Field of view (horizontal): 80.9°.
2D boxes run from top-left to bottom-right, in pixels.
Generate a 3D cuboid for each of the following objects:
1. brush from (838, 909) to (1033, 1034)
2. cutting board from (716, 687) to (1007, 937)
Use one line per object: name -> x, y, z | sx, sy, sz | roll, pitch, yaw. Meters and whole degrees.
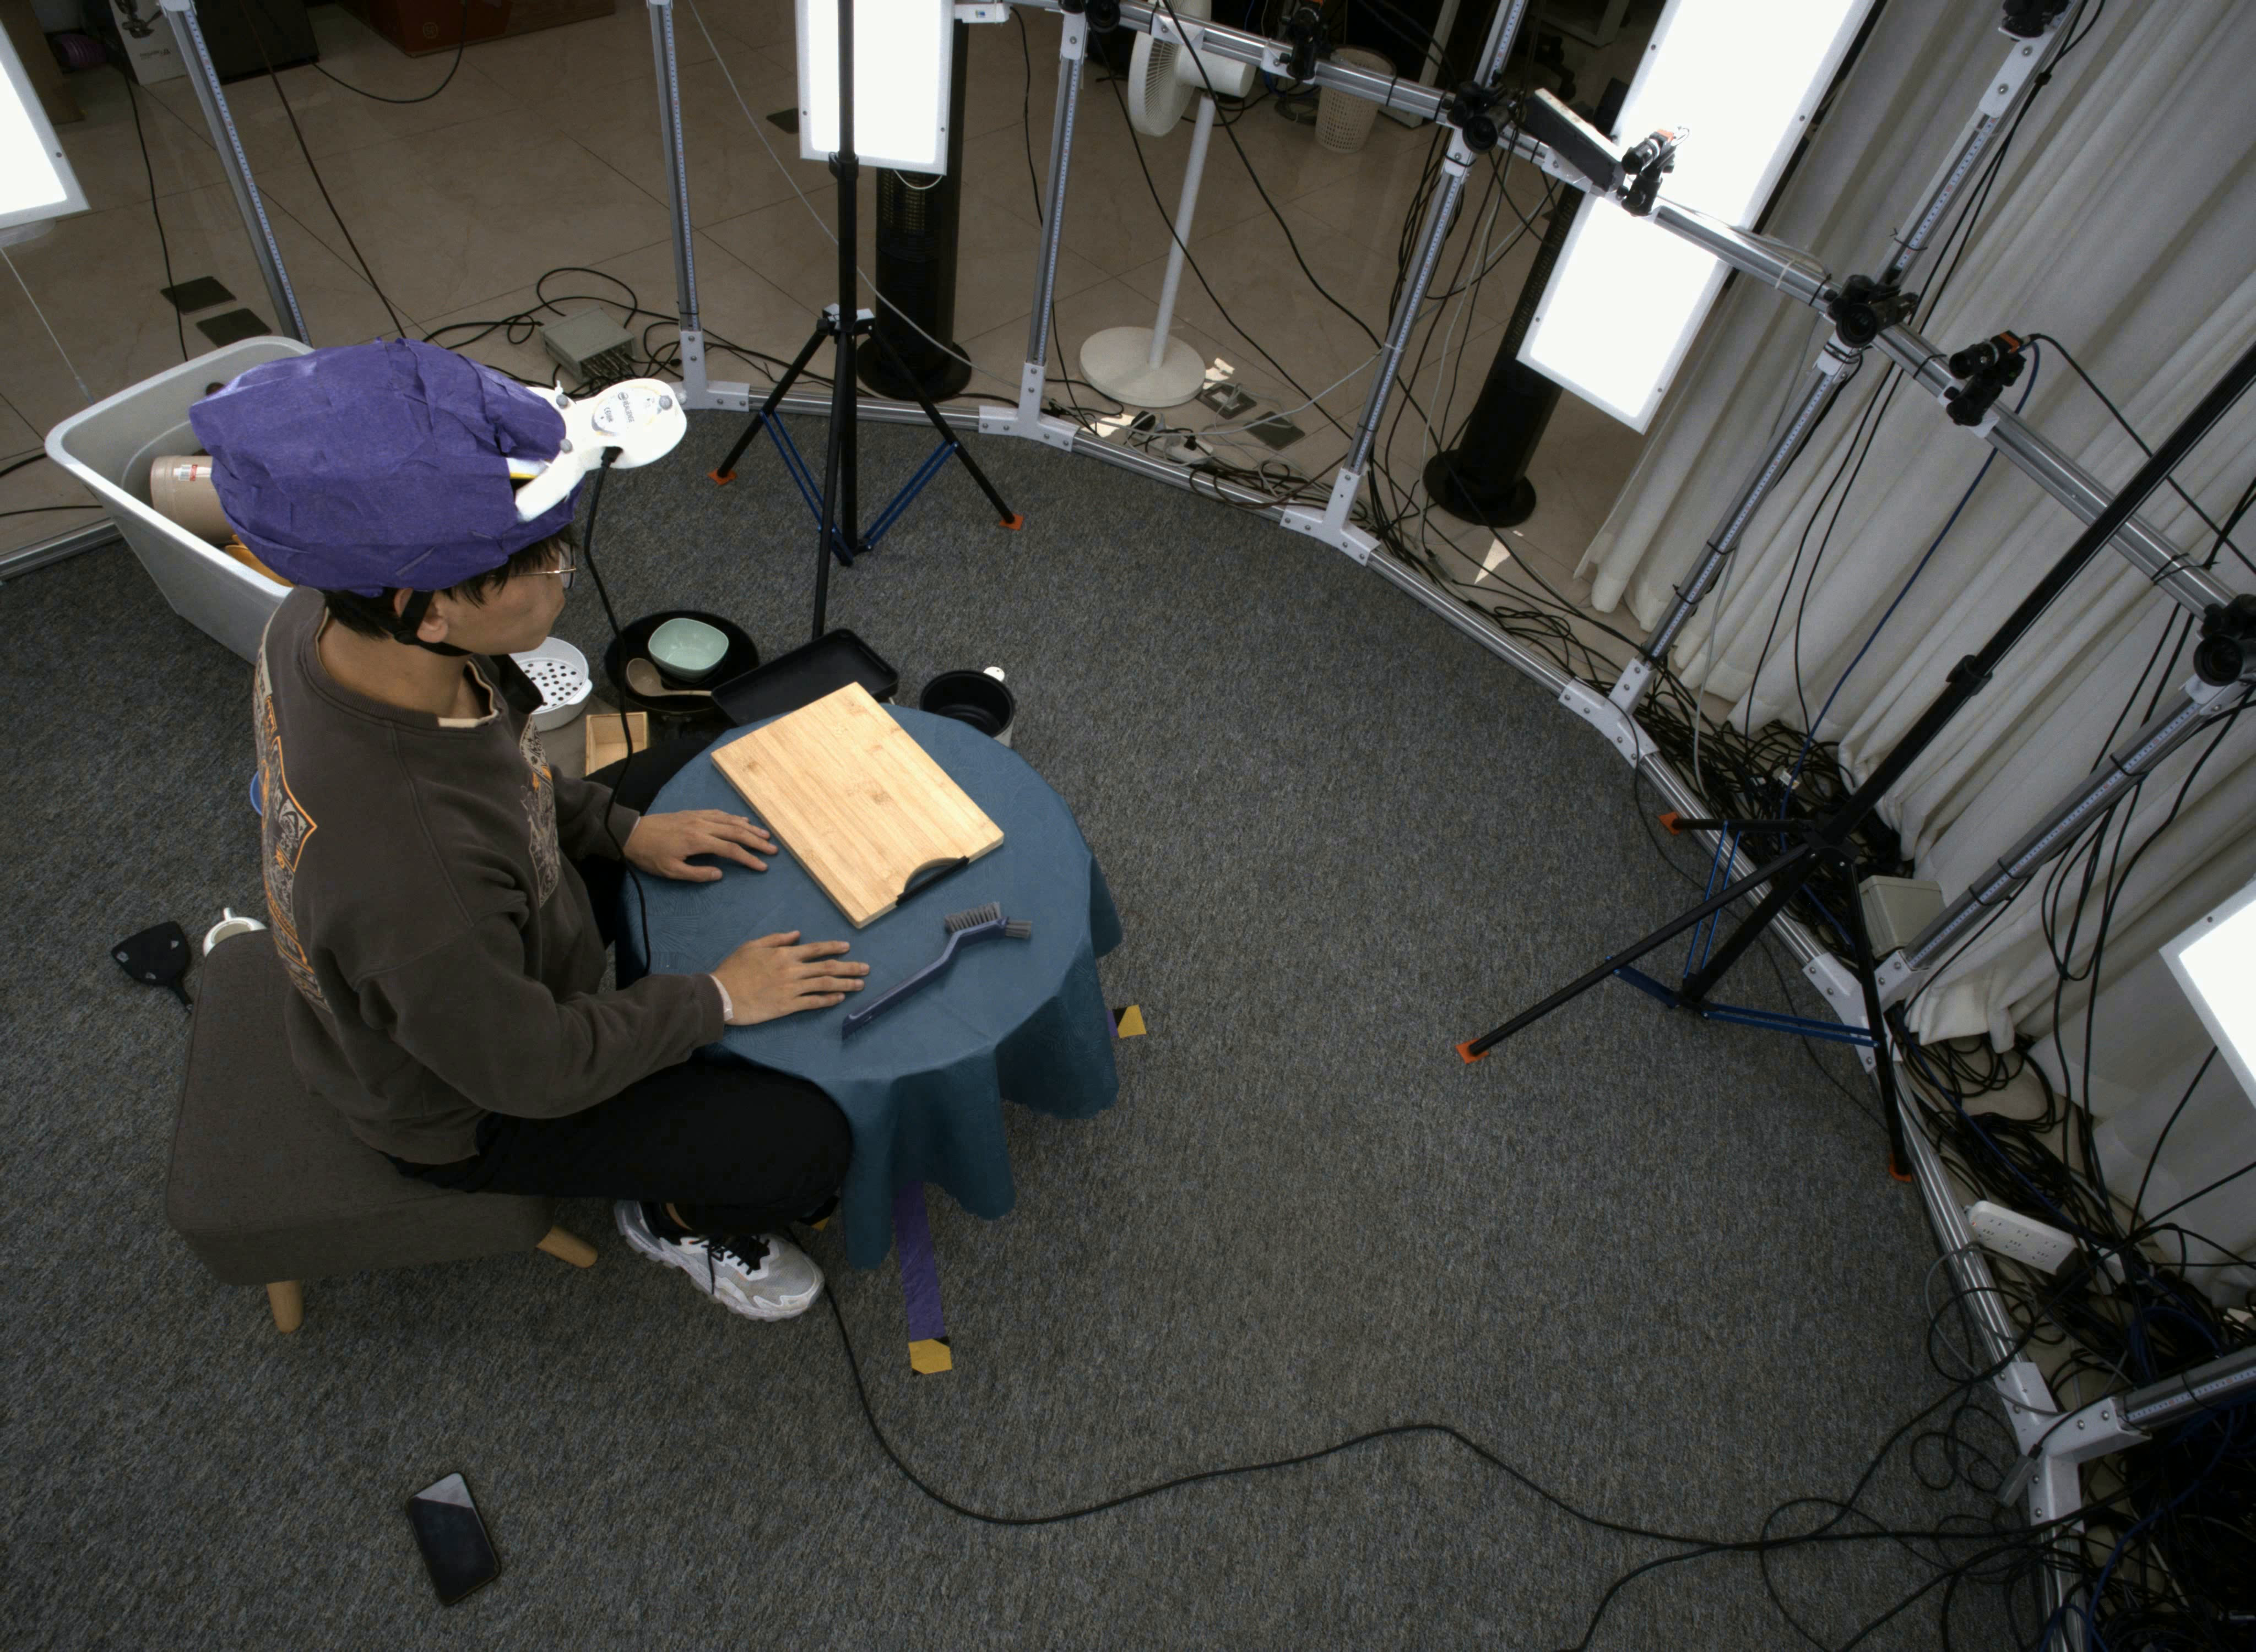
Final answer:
brush -> -0.241, 0.185, 1.628 | 0.094, 0.034, 0.273 | 38, 54, 16
cutting board -> -0.363, -0.033, 1.767 | 0.251, 0.024, 0.340 | -35, 68, -31
